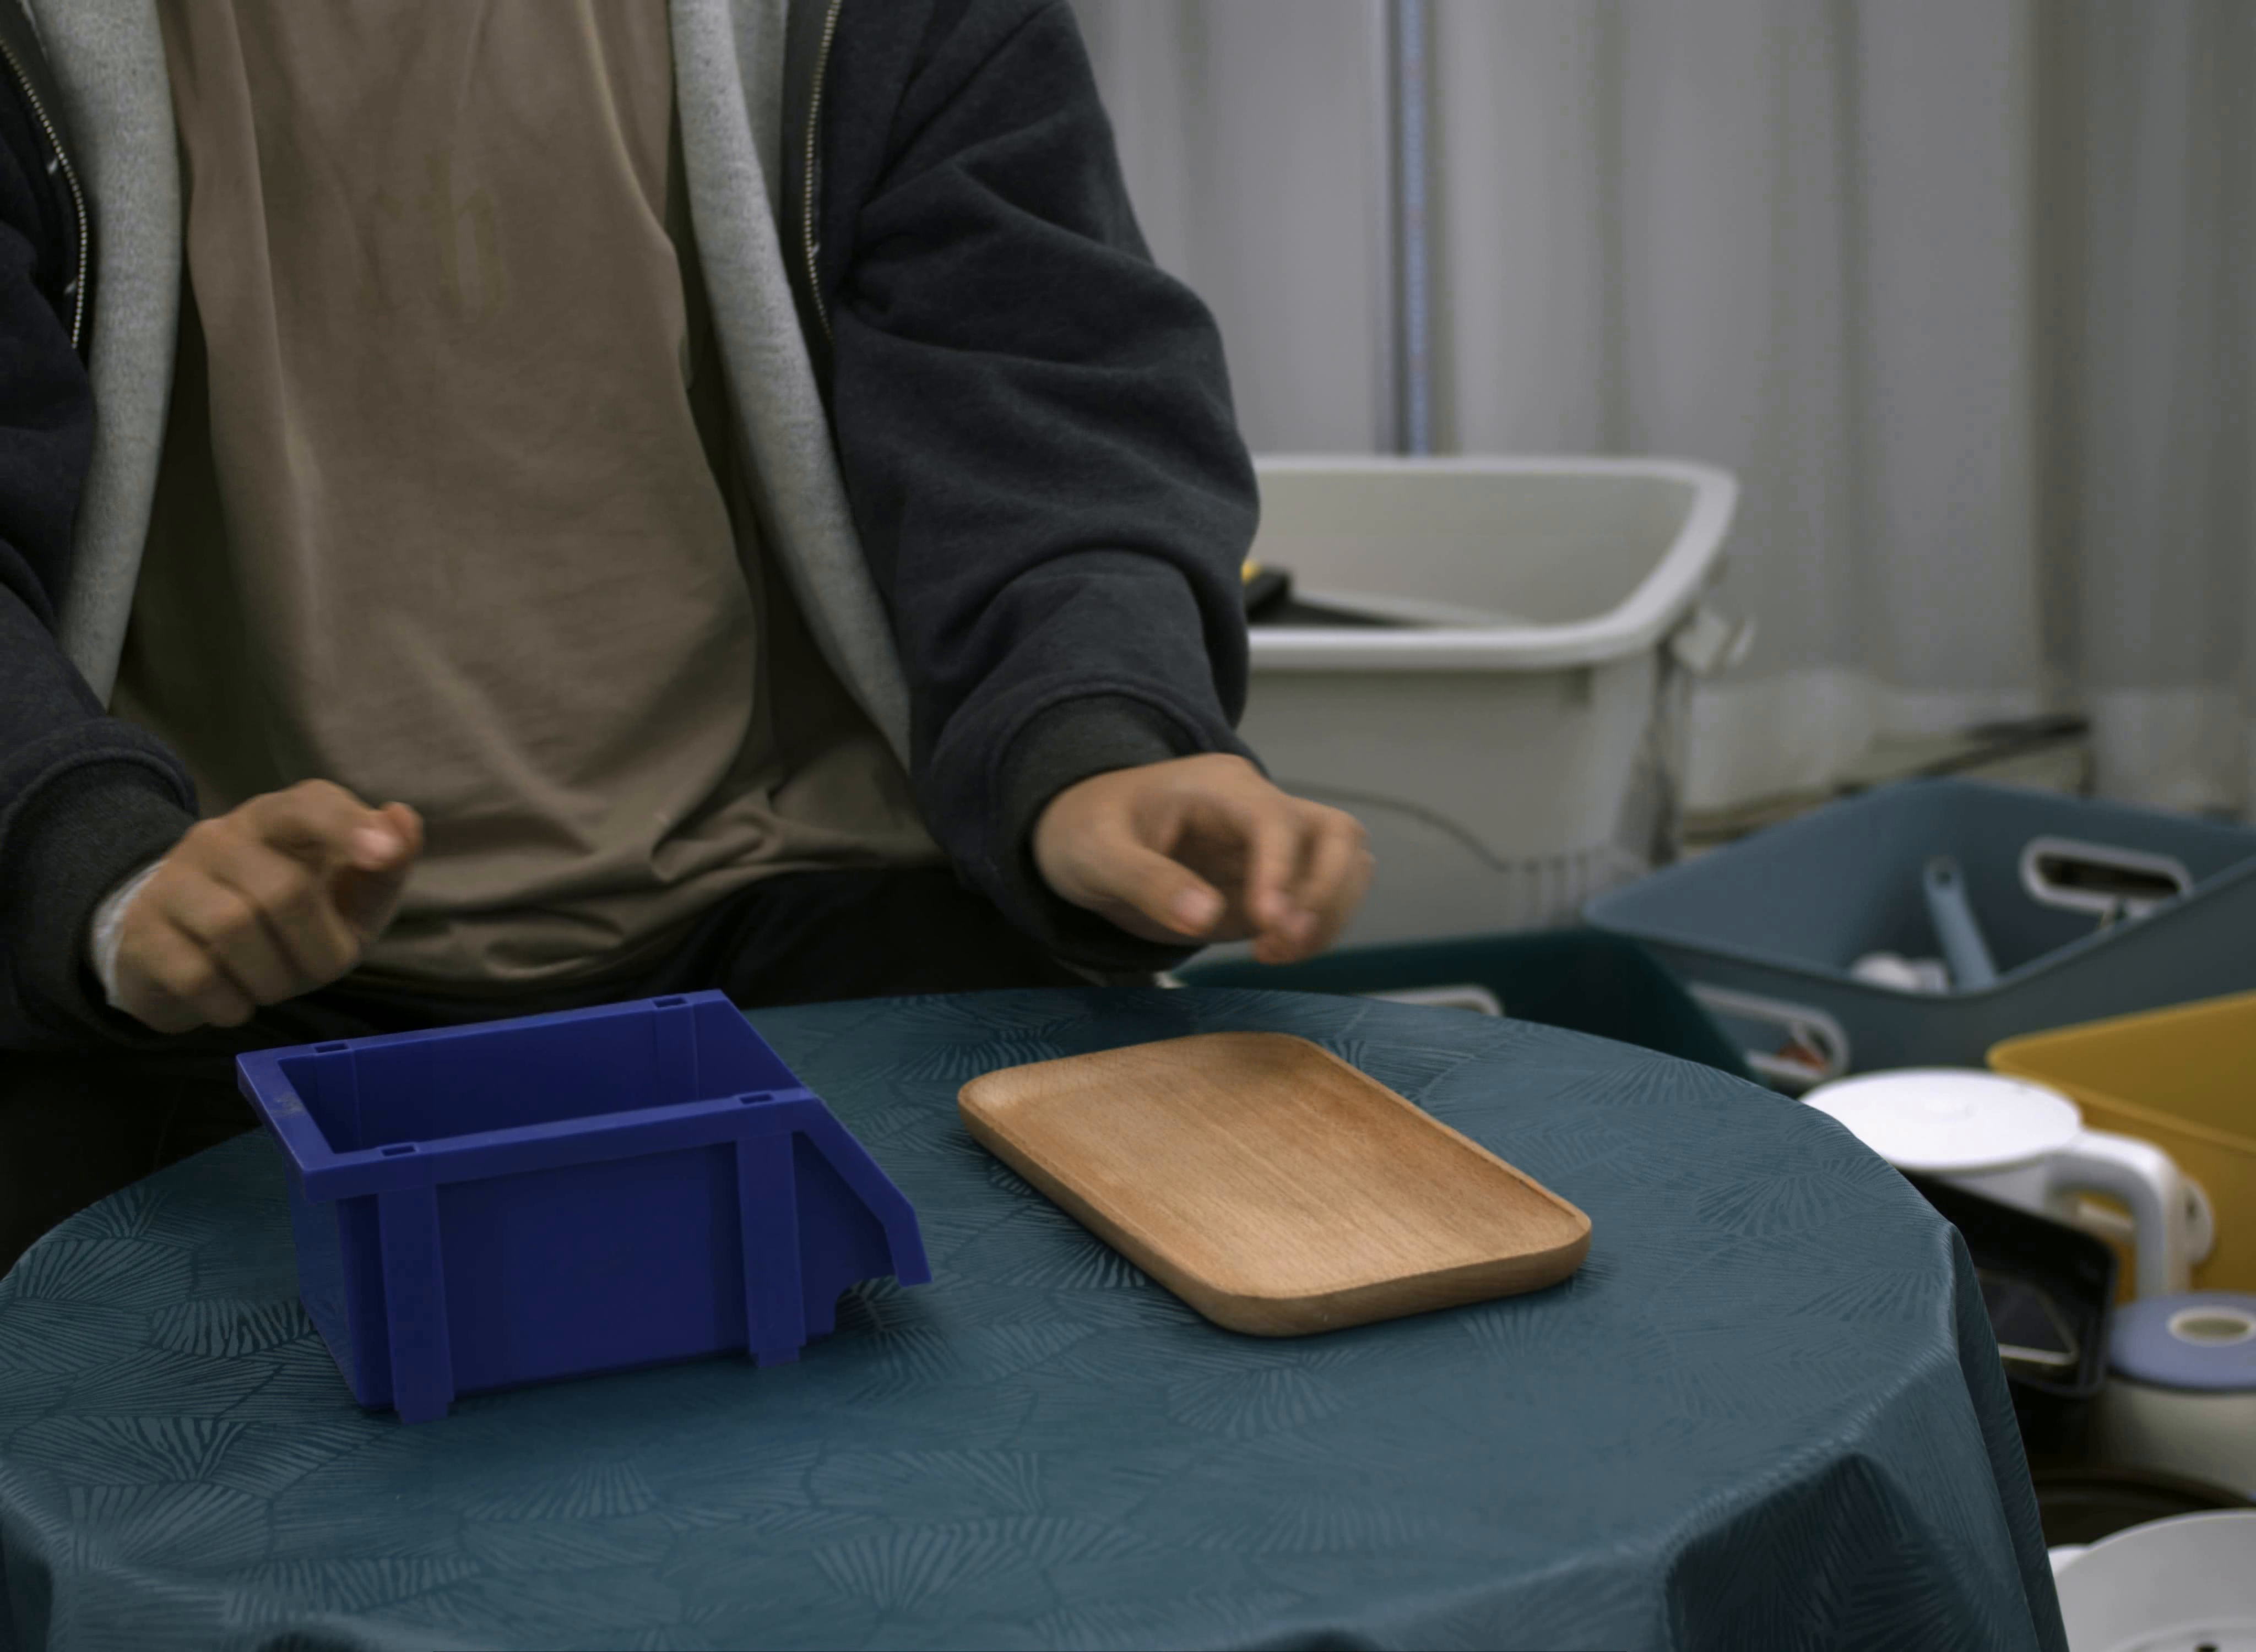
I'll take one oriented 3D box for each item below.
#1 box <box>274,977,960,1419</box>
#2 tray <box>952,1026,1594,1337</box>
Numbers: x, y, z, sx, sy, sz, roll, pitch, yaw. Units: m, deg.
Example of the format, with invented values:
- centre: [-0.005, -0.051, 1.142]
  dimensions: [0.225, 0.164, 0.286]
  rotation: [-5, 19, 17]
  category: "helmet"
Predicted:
- centre: [-0.152, 0.106, 1.619]
  dimensions: [0.178, 0.081, 0.125]
  rotation: [-10, 16, -14]
  category: "box"
- centre: [0.041, 0.108, 1.699]
  dimensions: [0.130, 0.023, 0.252]
  rotation: [-6, 15, -21]
  category: "tray"
